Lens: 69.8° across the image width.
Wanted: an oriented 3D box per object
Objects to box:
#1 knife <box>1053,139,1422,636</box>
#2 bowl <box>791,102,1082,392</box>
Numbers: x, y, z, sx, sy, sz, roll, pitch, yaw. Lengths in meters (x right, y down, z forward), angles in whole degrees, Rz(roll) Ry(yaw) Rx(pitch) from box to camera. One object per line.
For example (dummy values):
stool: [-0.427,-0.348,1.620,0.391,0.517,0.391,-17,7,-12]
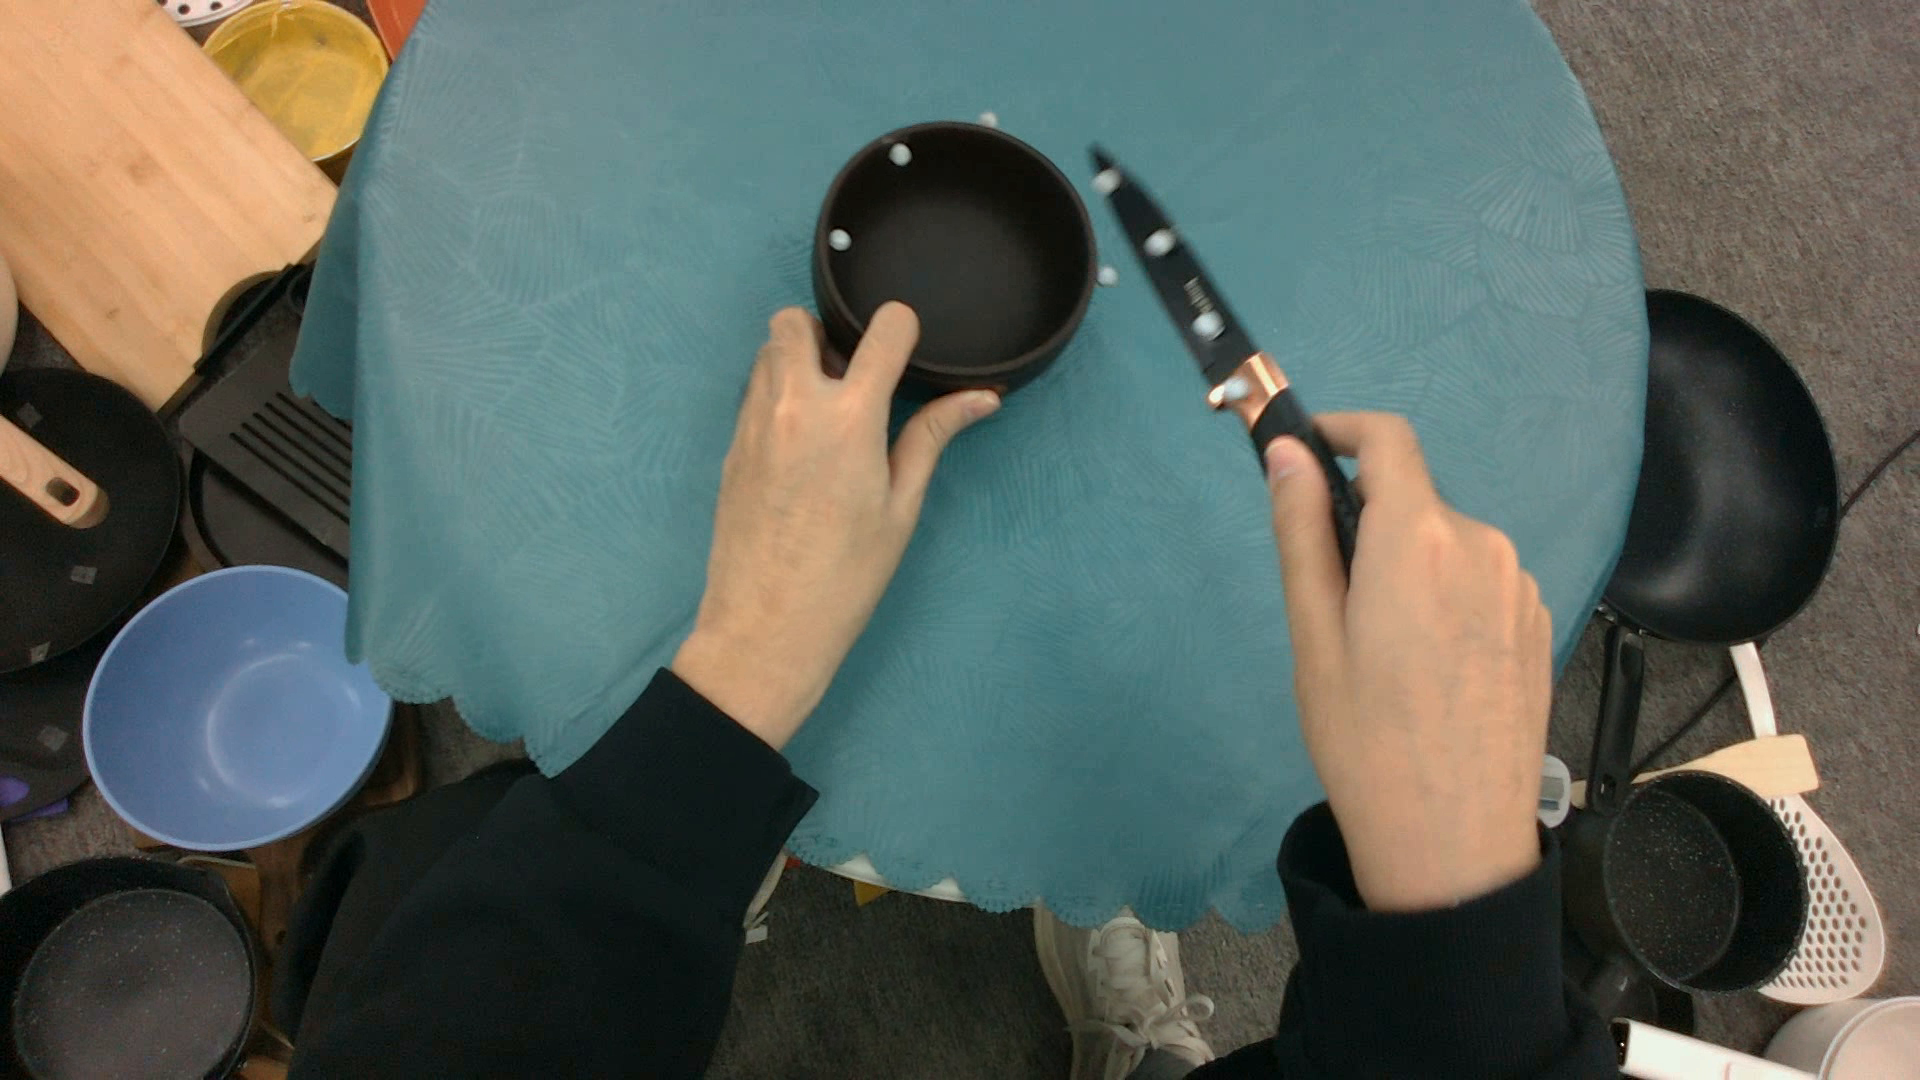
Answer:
knife: [0.087,-0.062,0.466,0.017,0.026,0.226,3,52,-48]
bowl: [-0.012,-0.116,0.582,0.118,0.069,0.118,2,75,-8]
